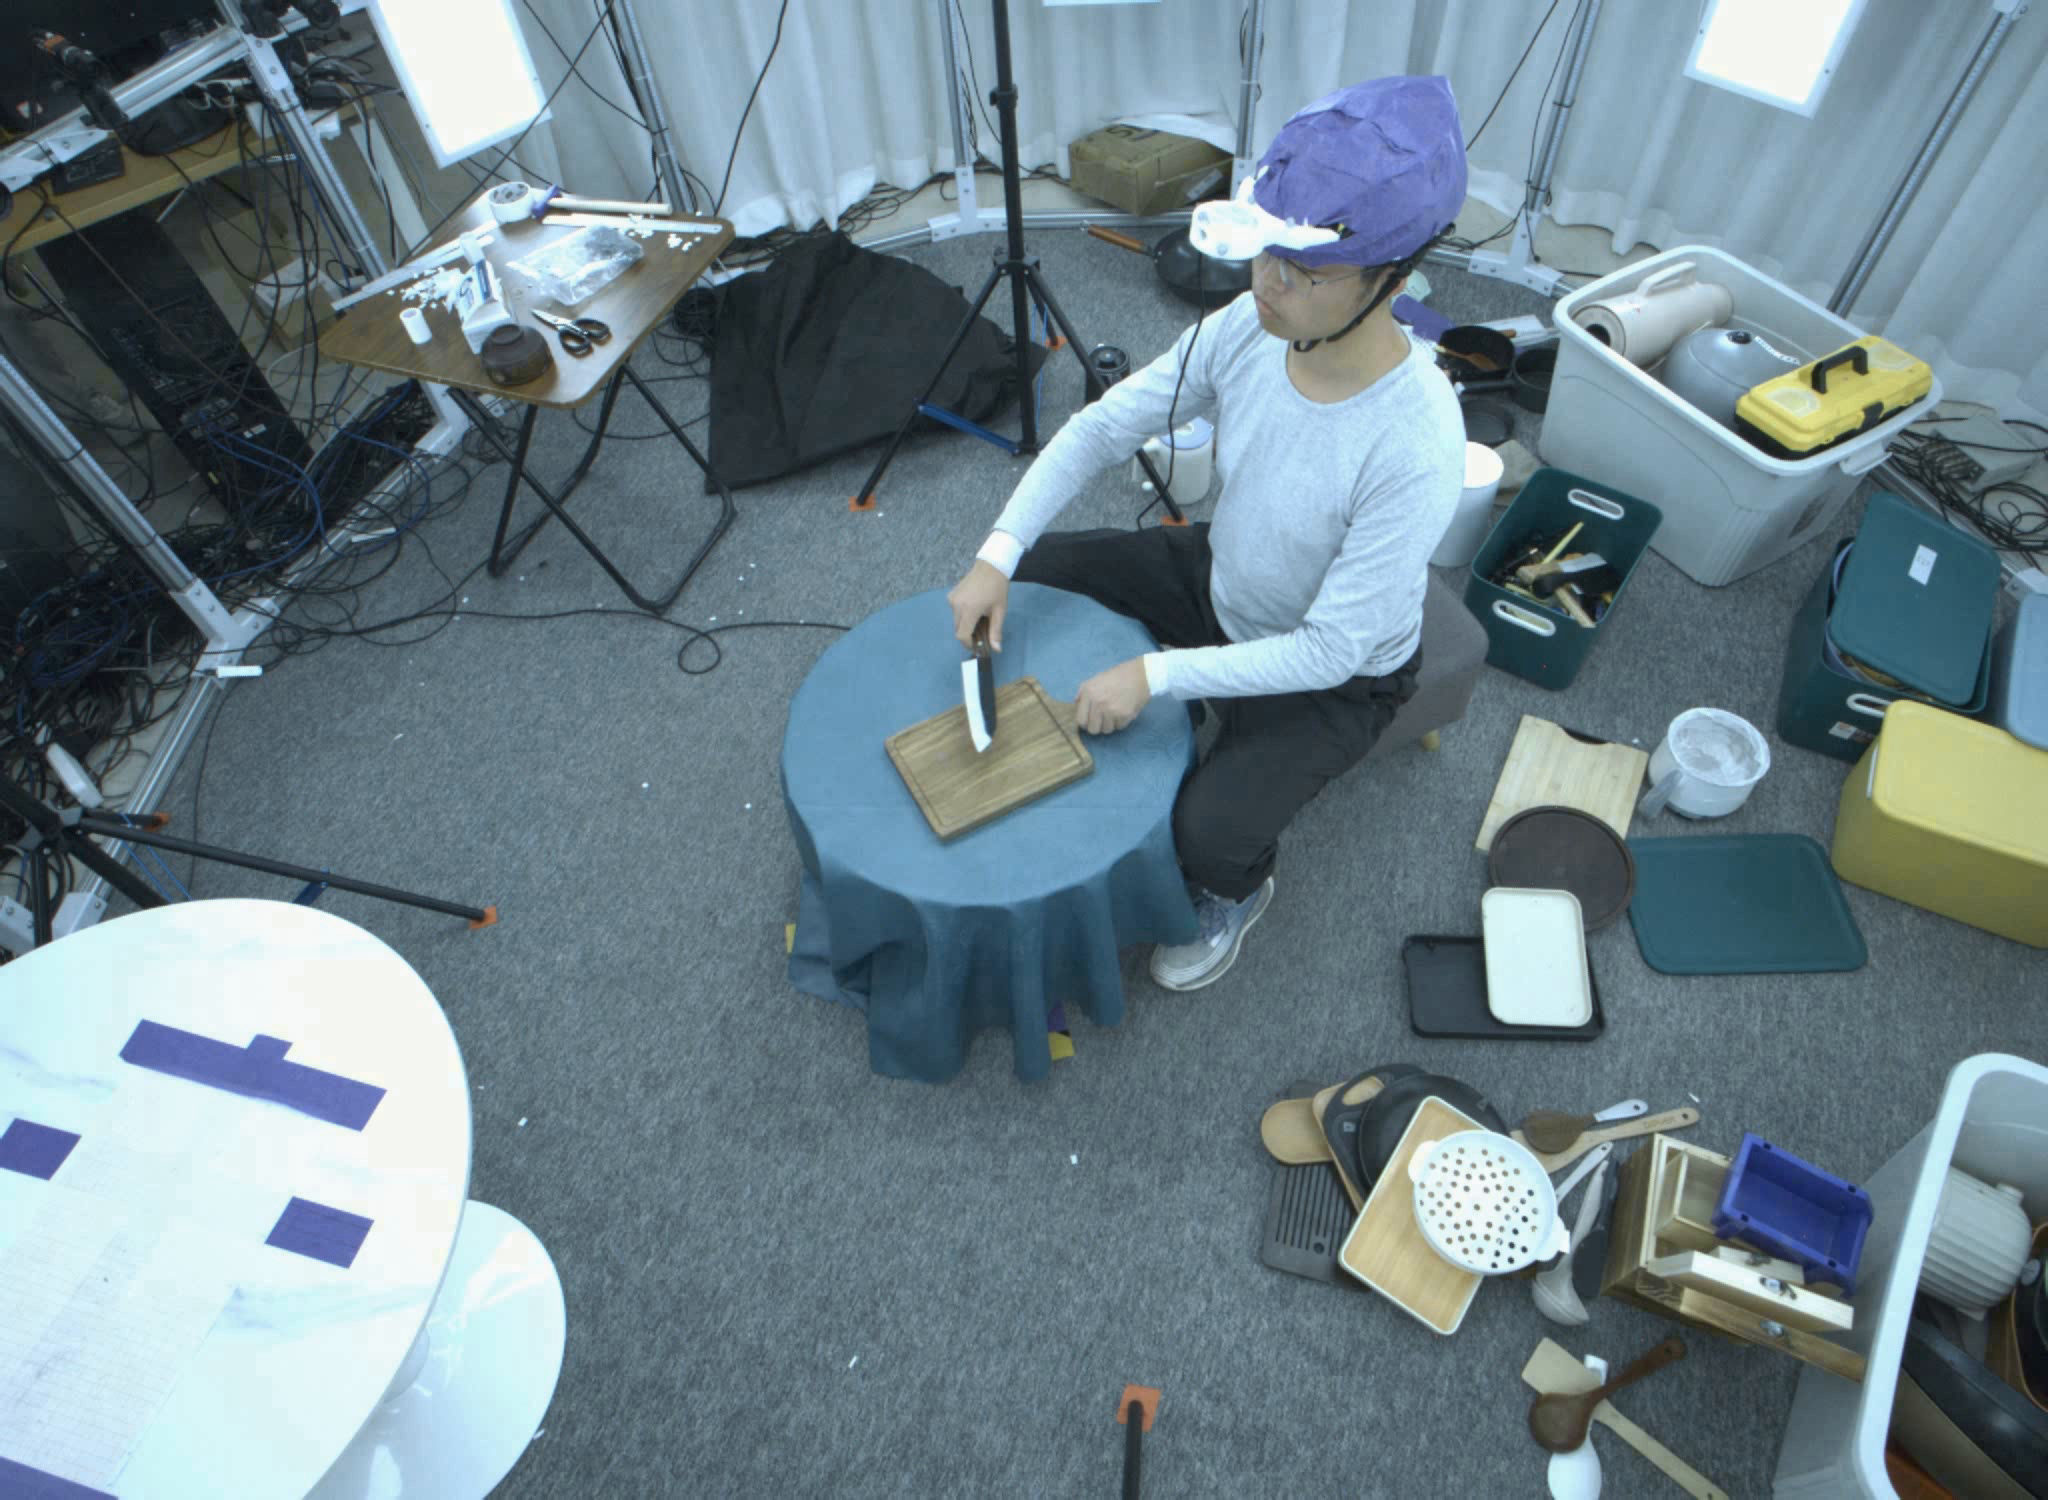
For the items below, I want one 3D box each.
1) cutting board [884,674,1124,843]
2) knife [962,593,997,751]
[{"bbox_3d":[-0.008,-0.013,1.792,0.355,0.023,0.197,-25,58,-15],"label":"cutting board"},{"bbox_3d":[-0.066,-0.116,1.779,0.050,0.020,0.285,-13,54,13],"label":"knife"}]
